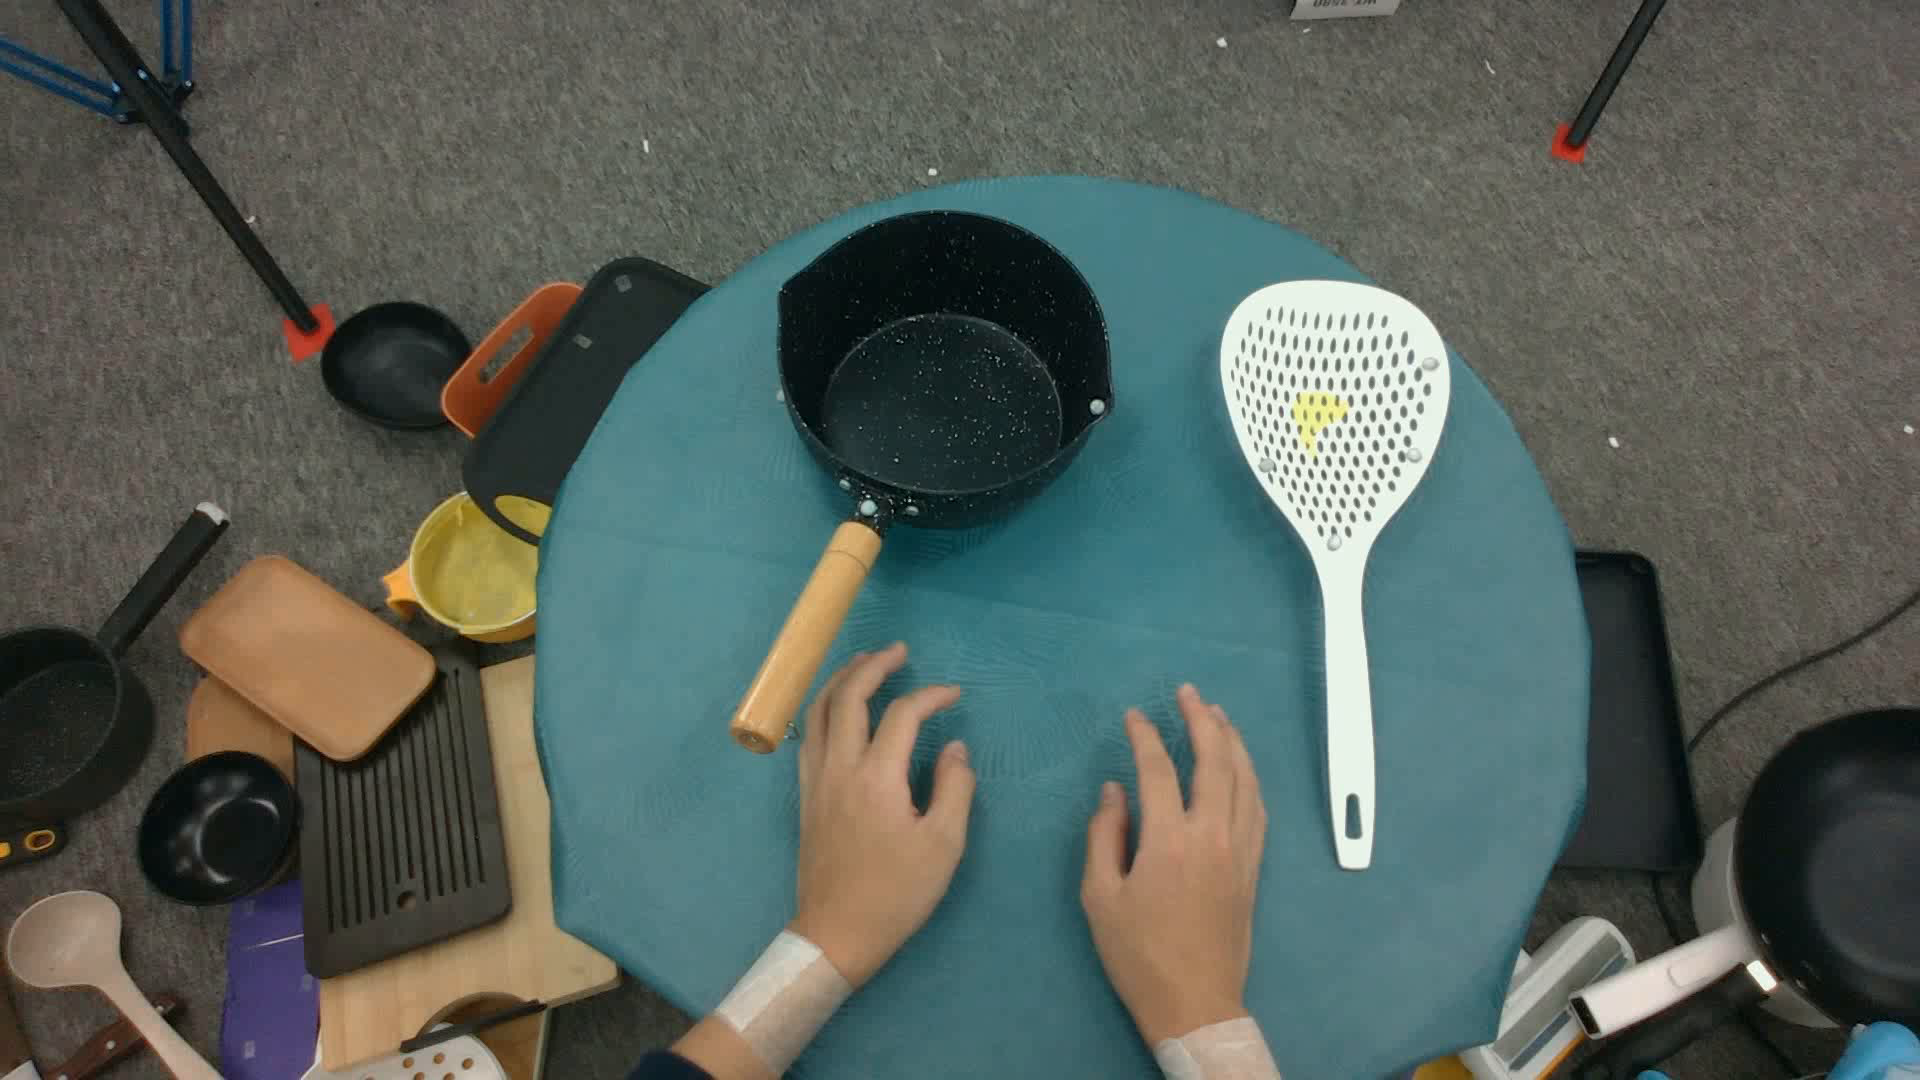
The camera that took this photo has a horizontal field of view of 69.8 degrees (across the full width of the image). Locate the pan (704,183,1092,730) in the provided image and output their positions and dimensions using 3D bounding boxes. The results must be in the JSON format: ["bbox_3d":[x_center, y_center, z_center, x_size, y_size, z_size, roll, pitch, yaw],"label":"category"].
[{"bbox_3d":[-0.050,-0.040,0.752,0.207,0.108,0.344,19,66,5],"label":"pan"}]

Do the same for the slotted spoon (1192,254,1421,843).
[{"bbox_3d":[0.202,-0.007,0.783,0.137,0.050,0.349,2,65,-3],"label":"slotted spoon"}]
